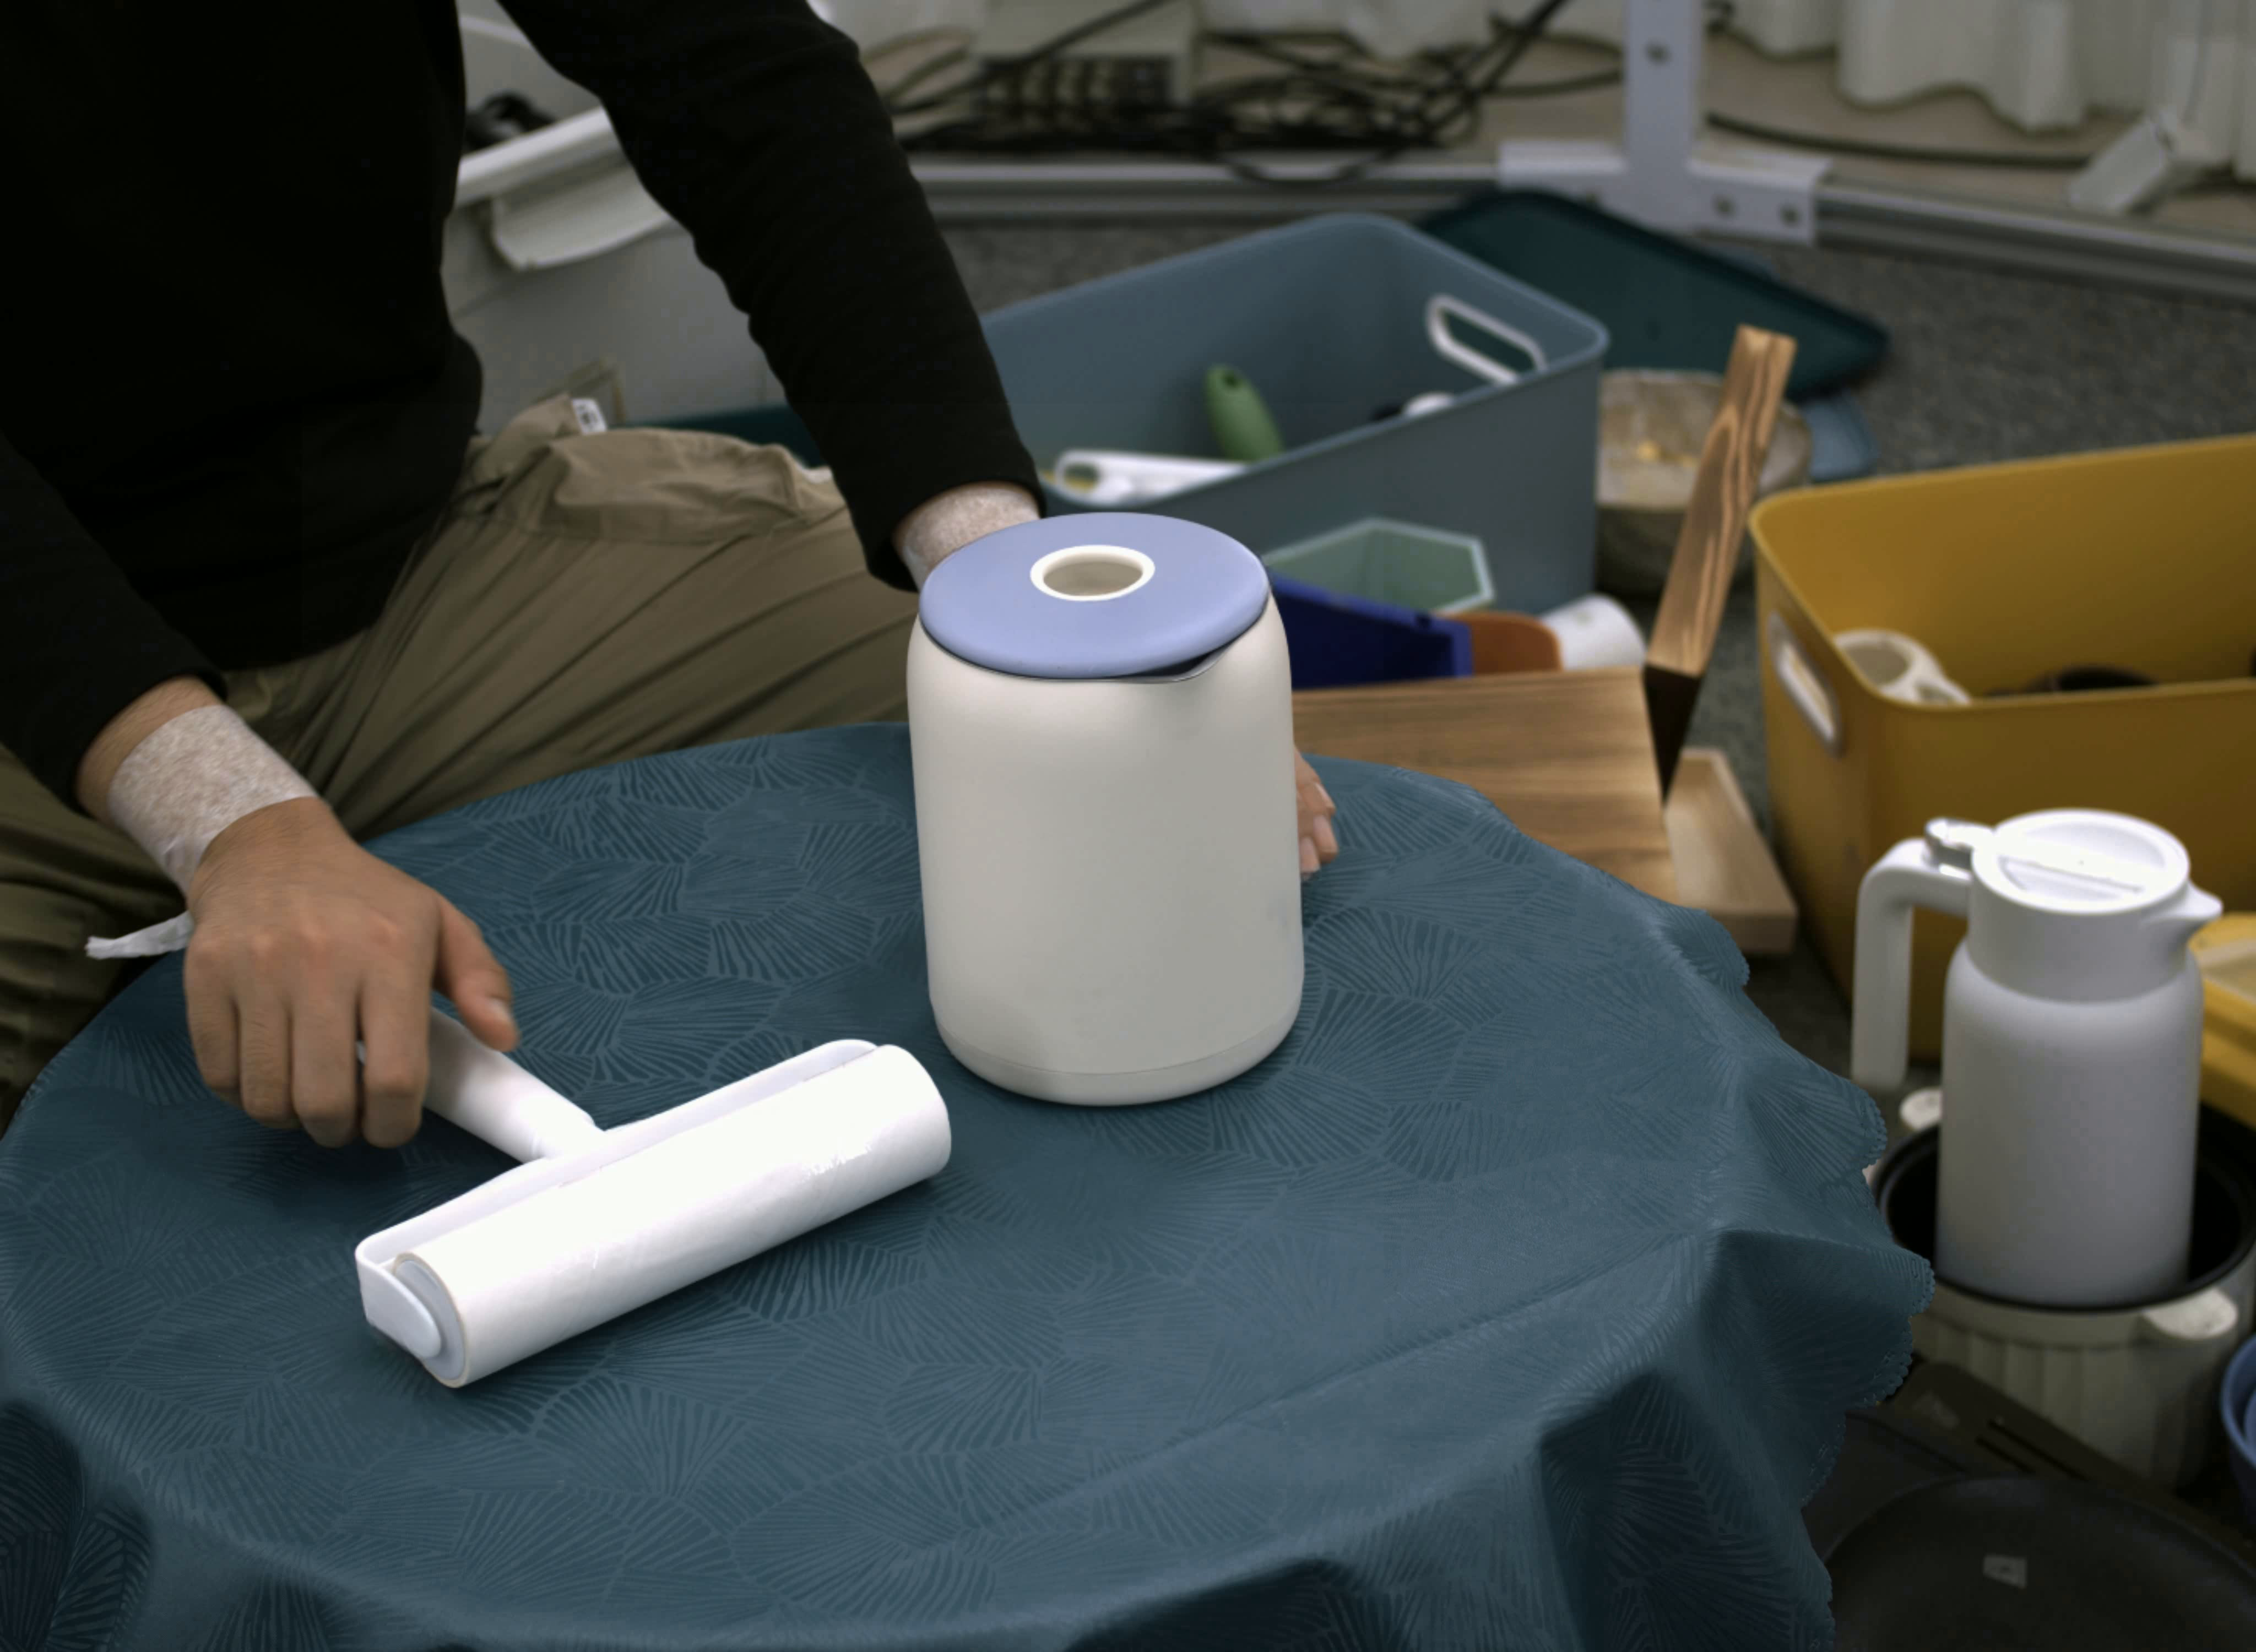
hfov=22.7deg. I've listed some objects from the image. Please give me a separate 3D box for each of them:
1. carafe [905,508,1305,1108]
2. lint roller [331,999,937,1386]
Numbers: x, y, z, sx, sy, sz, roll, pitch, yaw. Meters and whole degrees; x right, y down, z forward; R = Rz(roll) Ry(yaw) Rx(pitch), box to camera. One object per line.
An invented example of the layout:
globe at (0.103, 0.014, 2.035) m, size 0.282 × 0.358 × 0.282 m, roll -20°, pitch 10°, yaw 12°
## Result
carafe at (-0.019, -0.016, 1.944) m, size 0.133 × 0.181 × 0.192 m, roll -16°, pitch 27°, yaw -25°
lint roller at (-0.204, 0.096, 1.884) m, size 0.205 × 0.048 × 0.225 m, roll -24°, pitch 33°, yaw -32°
